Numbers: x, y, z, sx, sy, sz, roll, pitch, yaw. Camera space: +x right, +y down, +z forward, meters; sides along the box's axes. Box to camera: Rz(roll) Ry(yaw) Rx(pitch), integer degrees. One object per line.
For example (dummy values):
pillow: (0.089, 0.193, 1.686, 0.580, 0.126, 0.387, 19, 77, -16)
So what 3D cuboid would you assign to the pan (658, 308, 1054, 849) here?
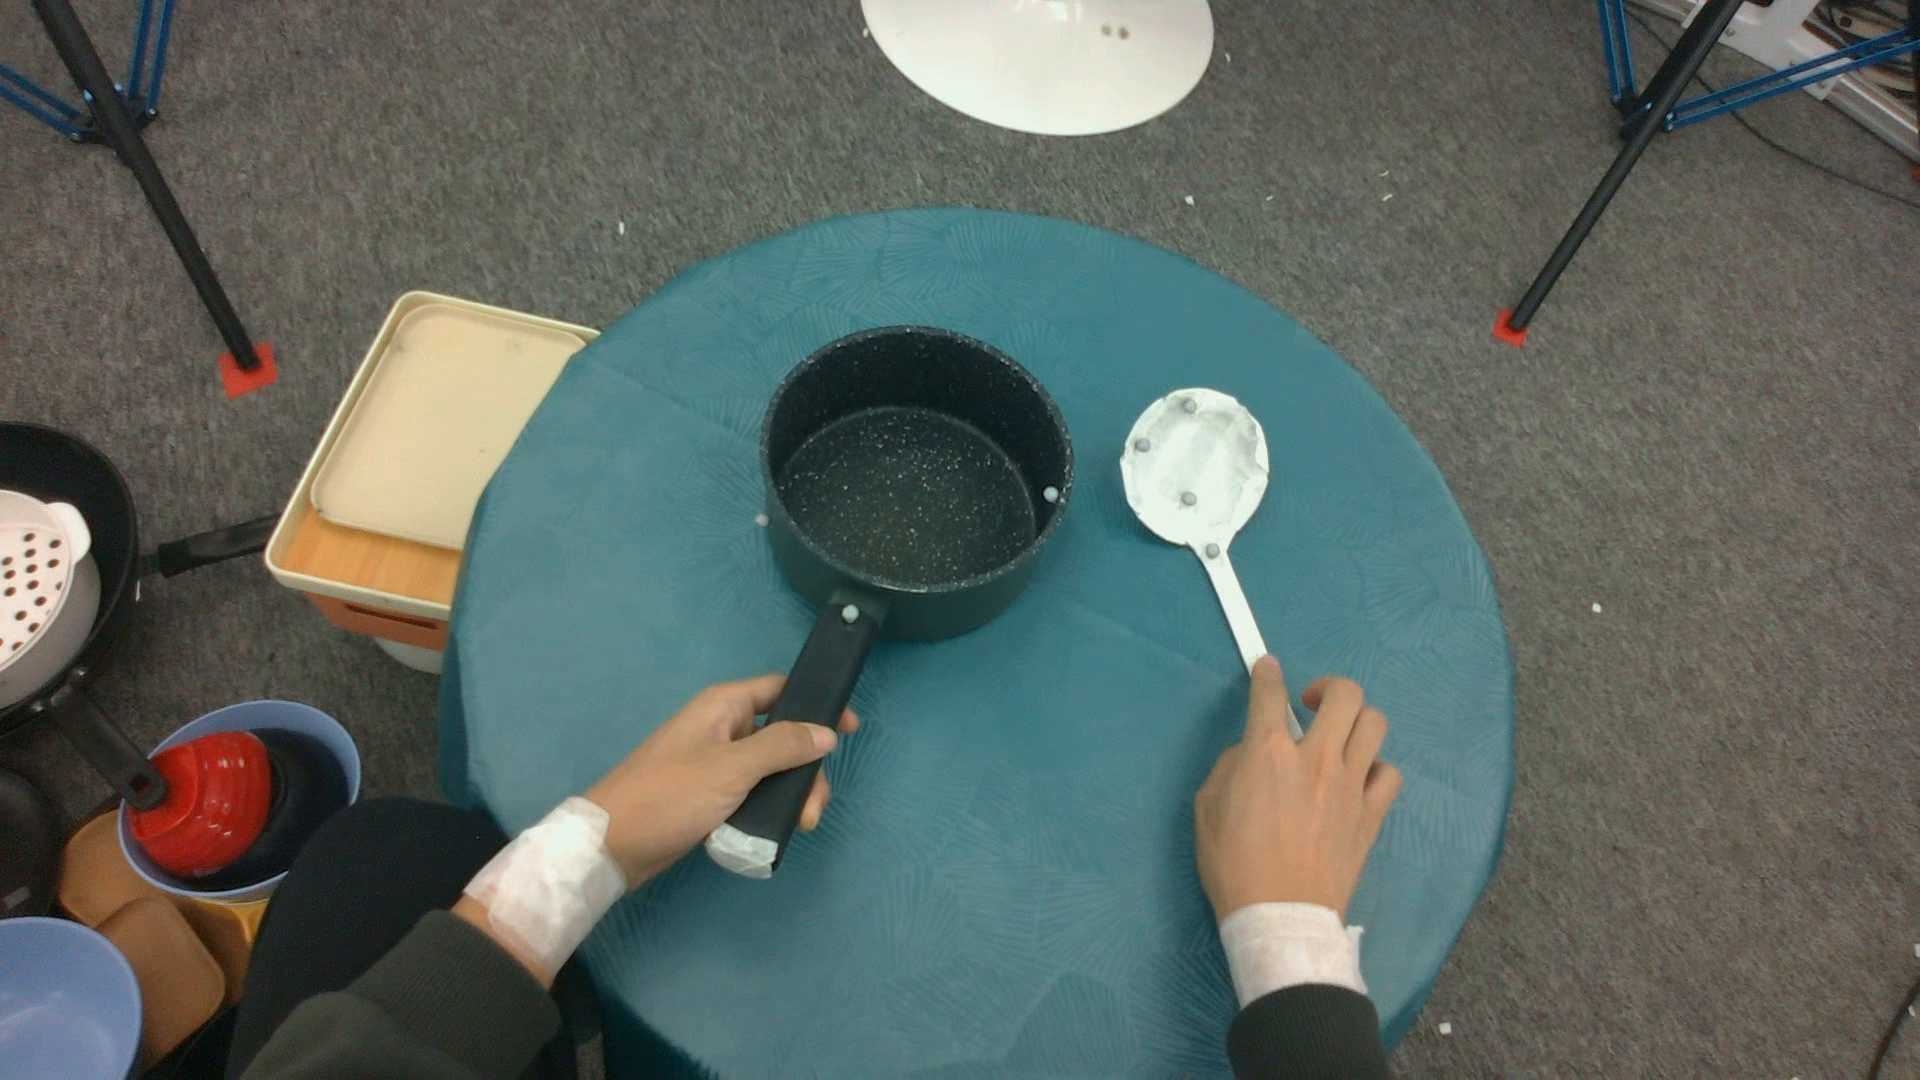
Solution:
pan: (-0.066, 0.022, 0.727, 0.172, 0.086, 0.330, 22, 58, 4)

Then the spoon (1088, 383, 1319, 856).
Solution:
spoon: (0.147, 0.040, 0.778, 0.101, 0.059, 0.278, -14, 63, -4)
